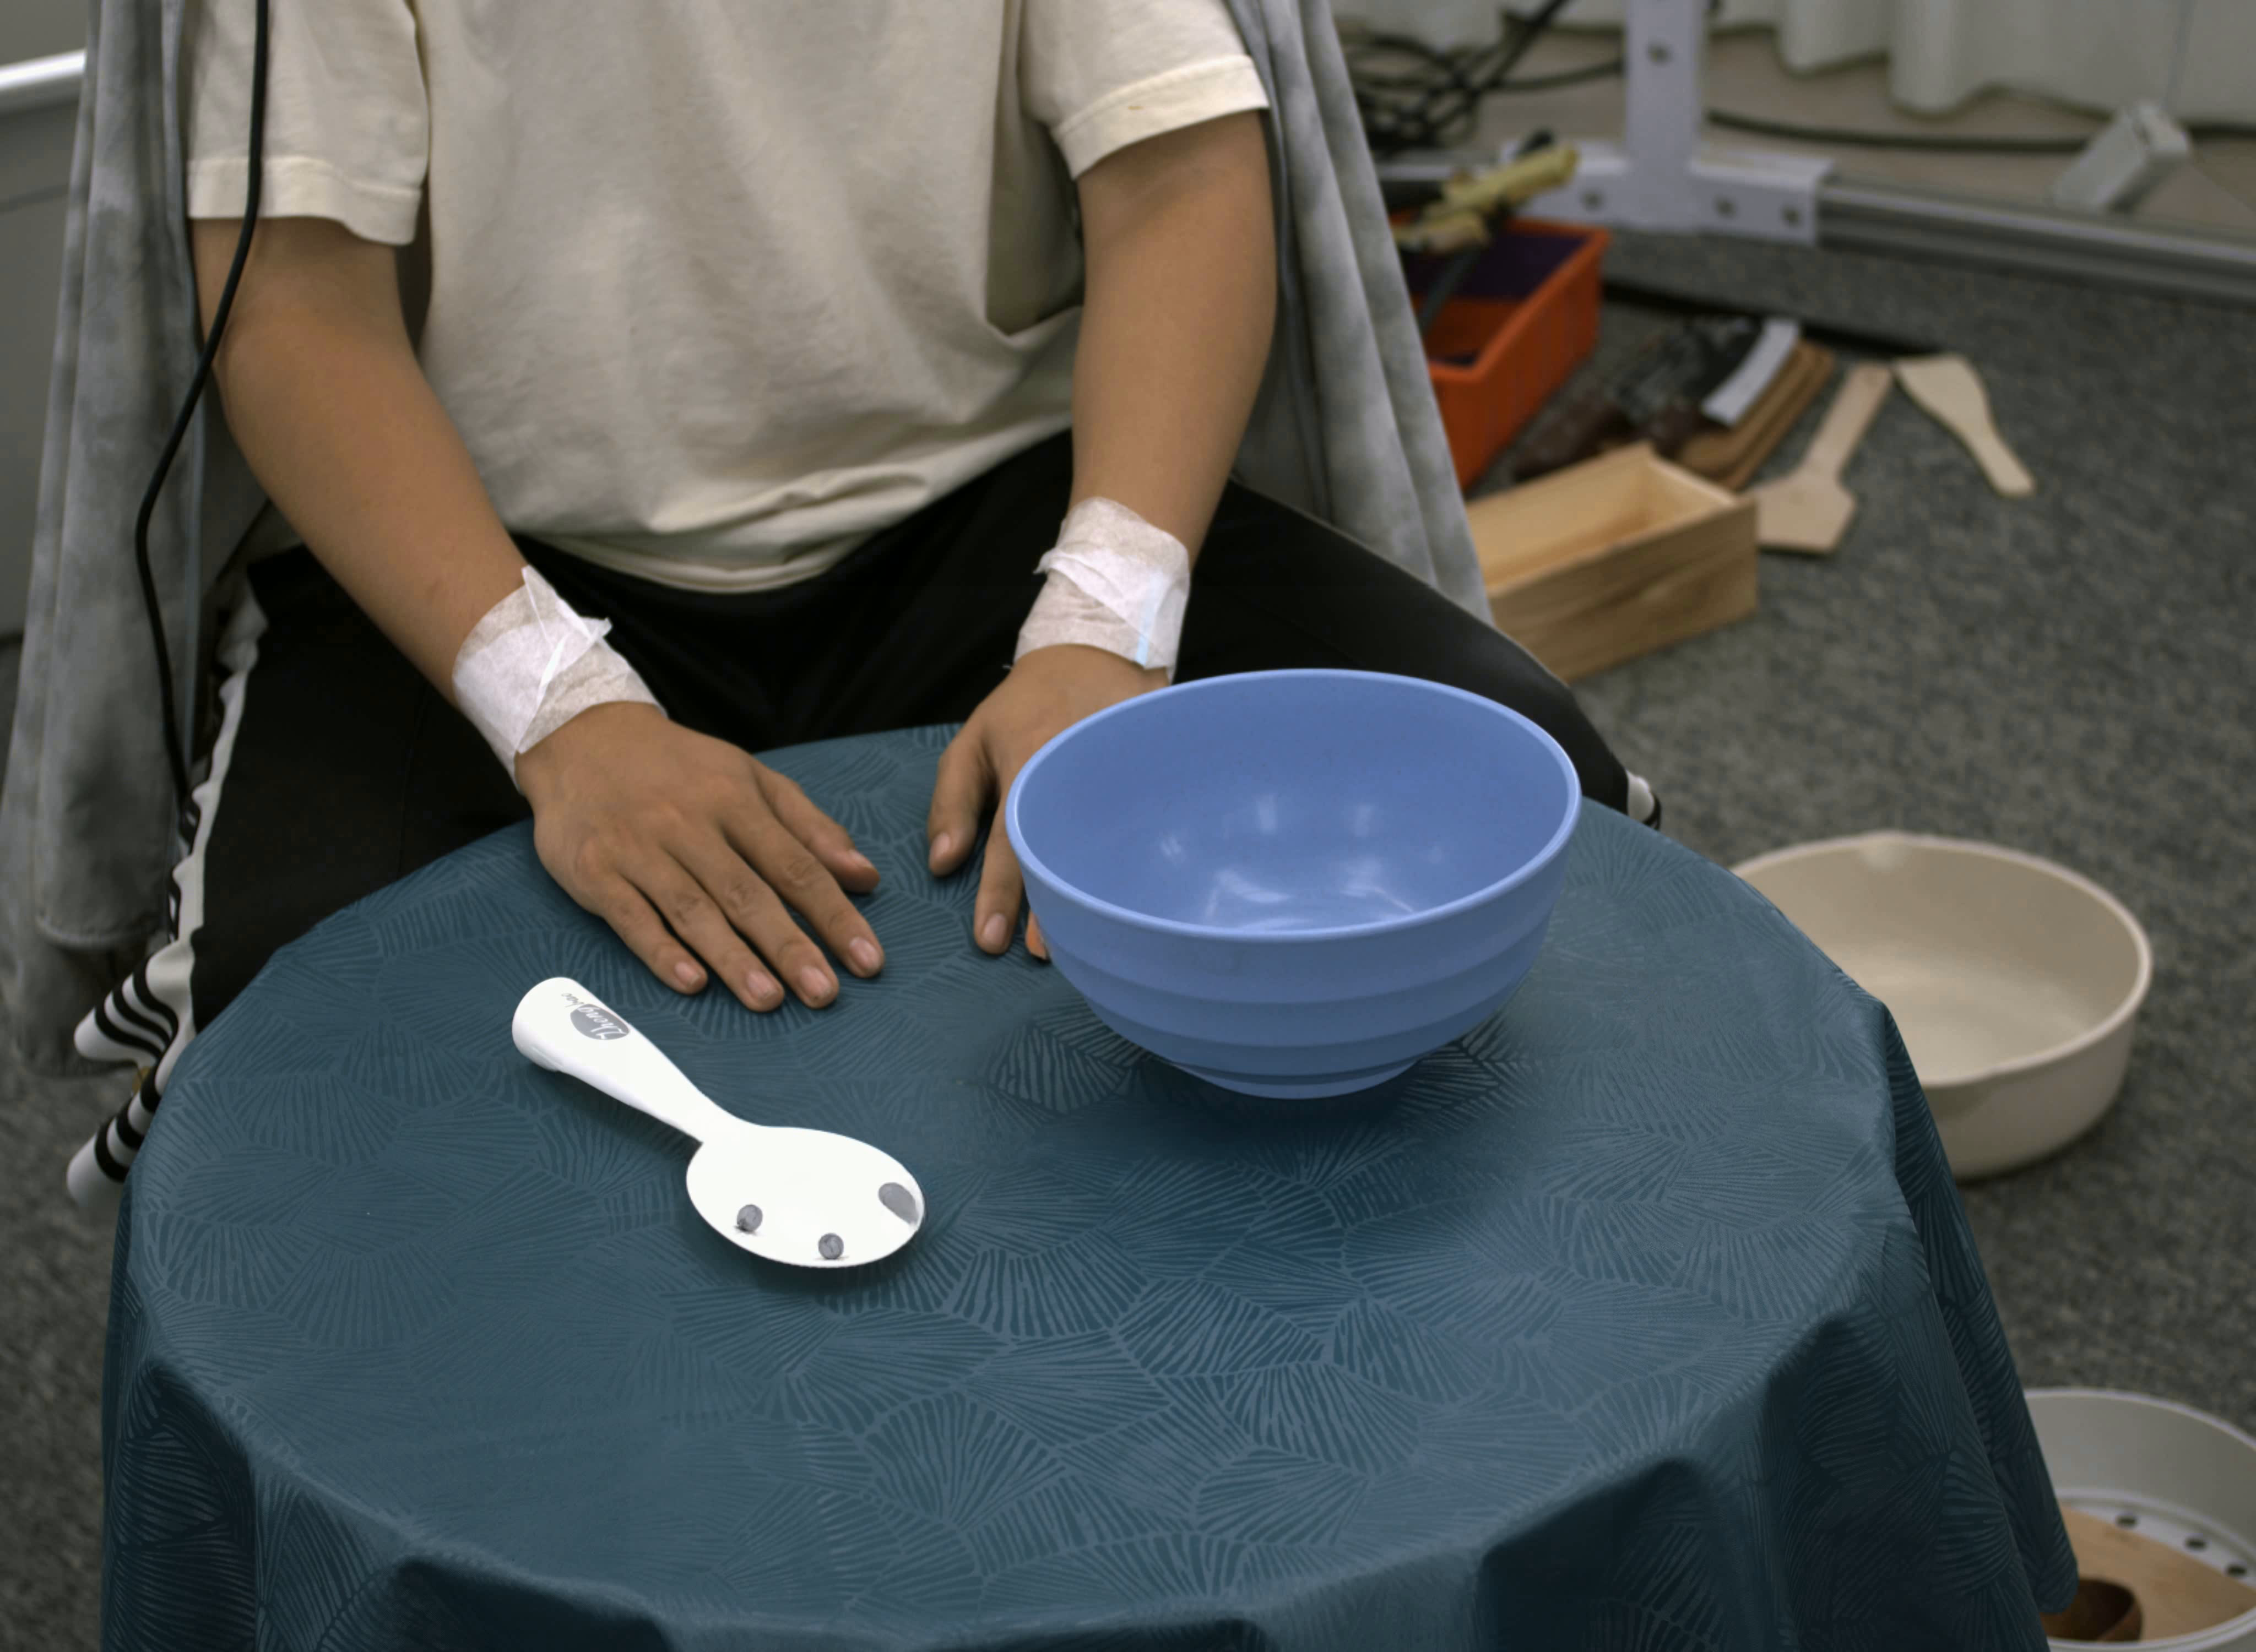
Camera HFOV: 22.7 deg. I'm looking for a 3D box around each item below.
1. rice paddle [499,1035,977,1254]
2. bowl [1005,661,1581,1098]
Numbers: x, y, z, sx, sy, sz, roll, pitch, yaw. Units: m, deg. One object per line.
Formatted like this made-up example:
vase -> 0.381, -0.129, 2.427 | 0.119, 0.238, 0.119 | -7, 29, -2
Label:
rice paddle -> -0.131, 0.109, 1.875 | 0.204, 0.029, 0.069 | 17, 20, 40
bowl -> 0.058, 0.029, 1.928 | 0.195, 0.094, 0.199 | -3, 29, 2
